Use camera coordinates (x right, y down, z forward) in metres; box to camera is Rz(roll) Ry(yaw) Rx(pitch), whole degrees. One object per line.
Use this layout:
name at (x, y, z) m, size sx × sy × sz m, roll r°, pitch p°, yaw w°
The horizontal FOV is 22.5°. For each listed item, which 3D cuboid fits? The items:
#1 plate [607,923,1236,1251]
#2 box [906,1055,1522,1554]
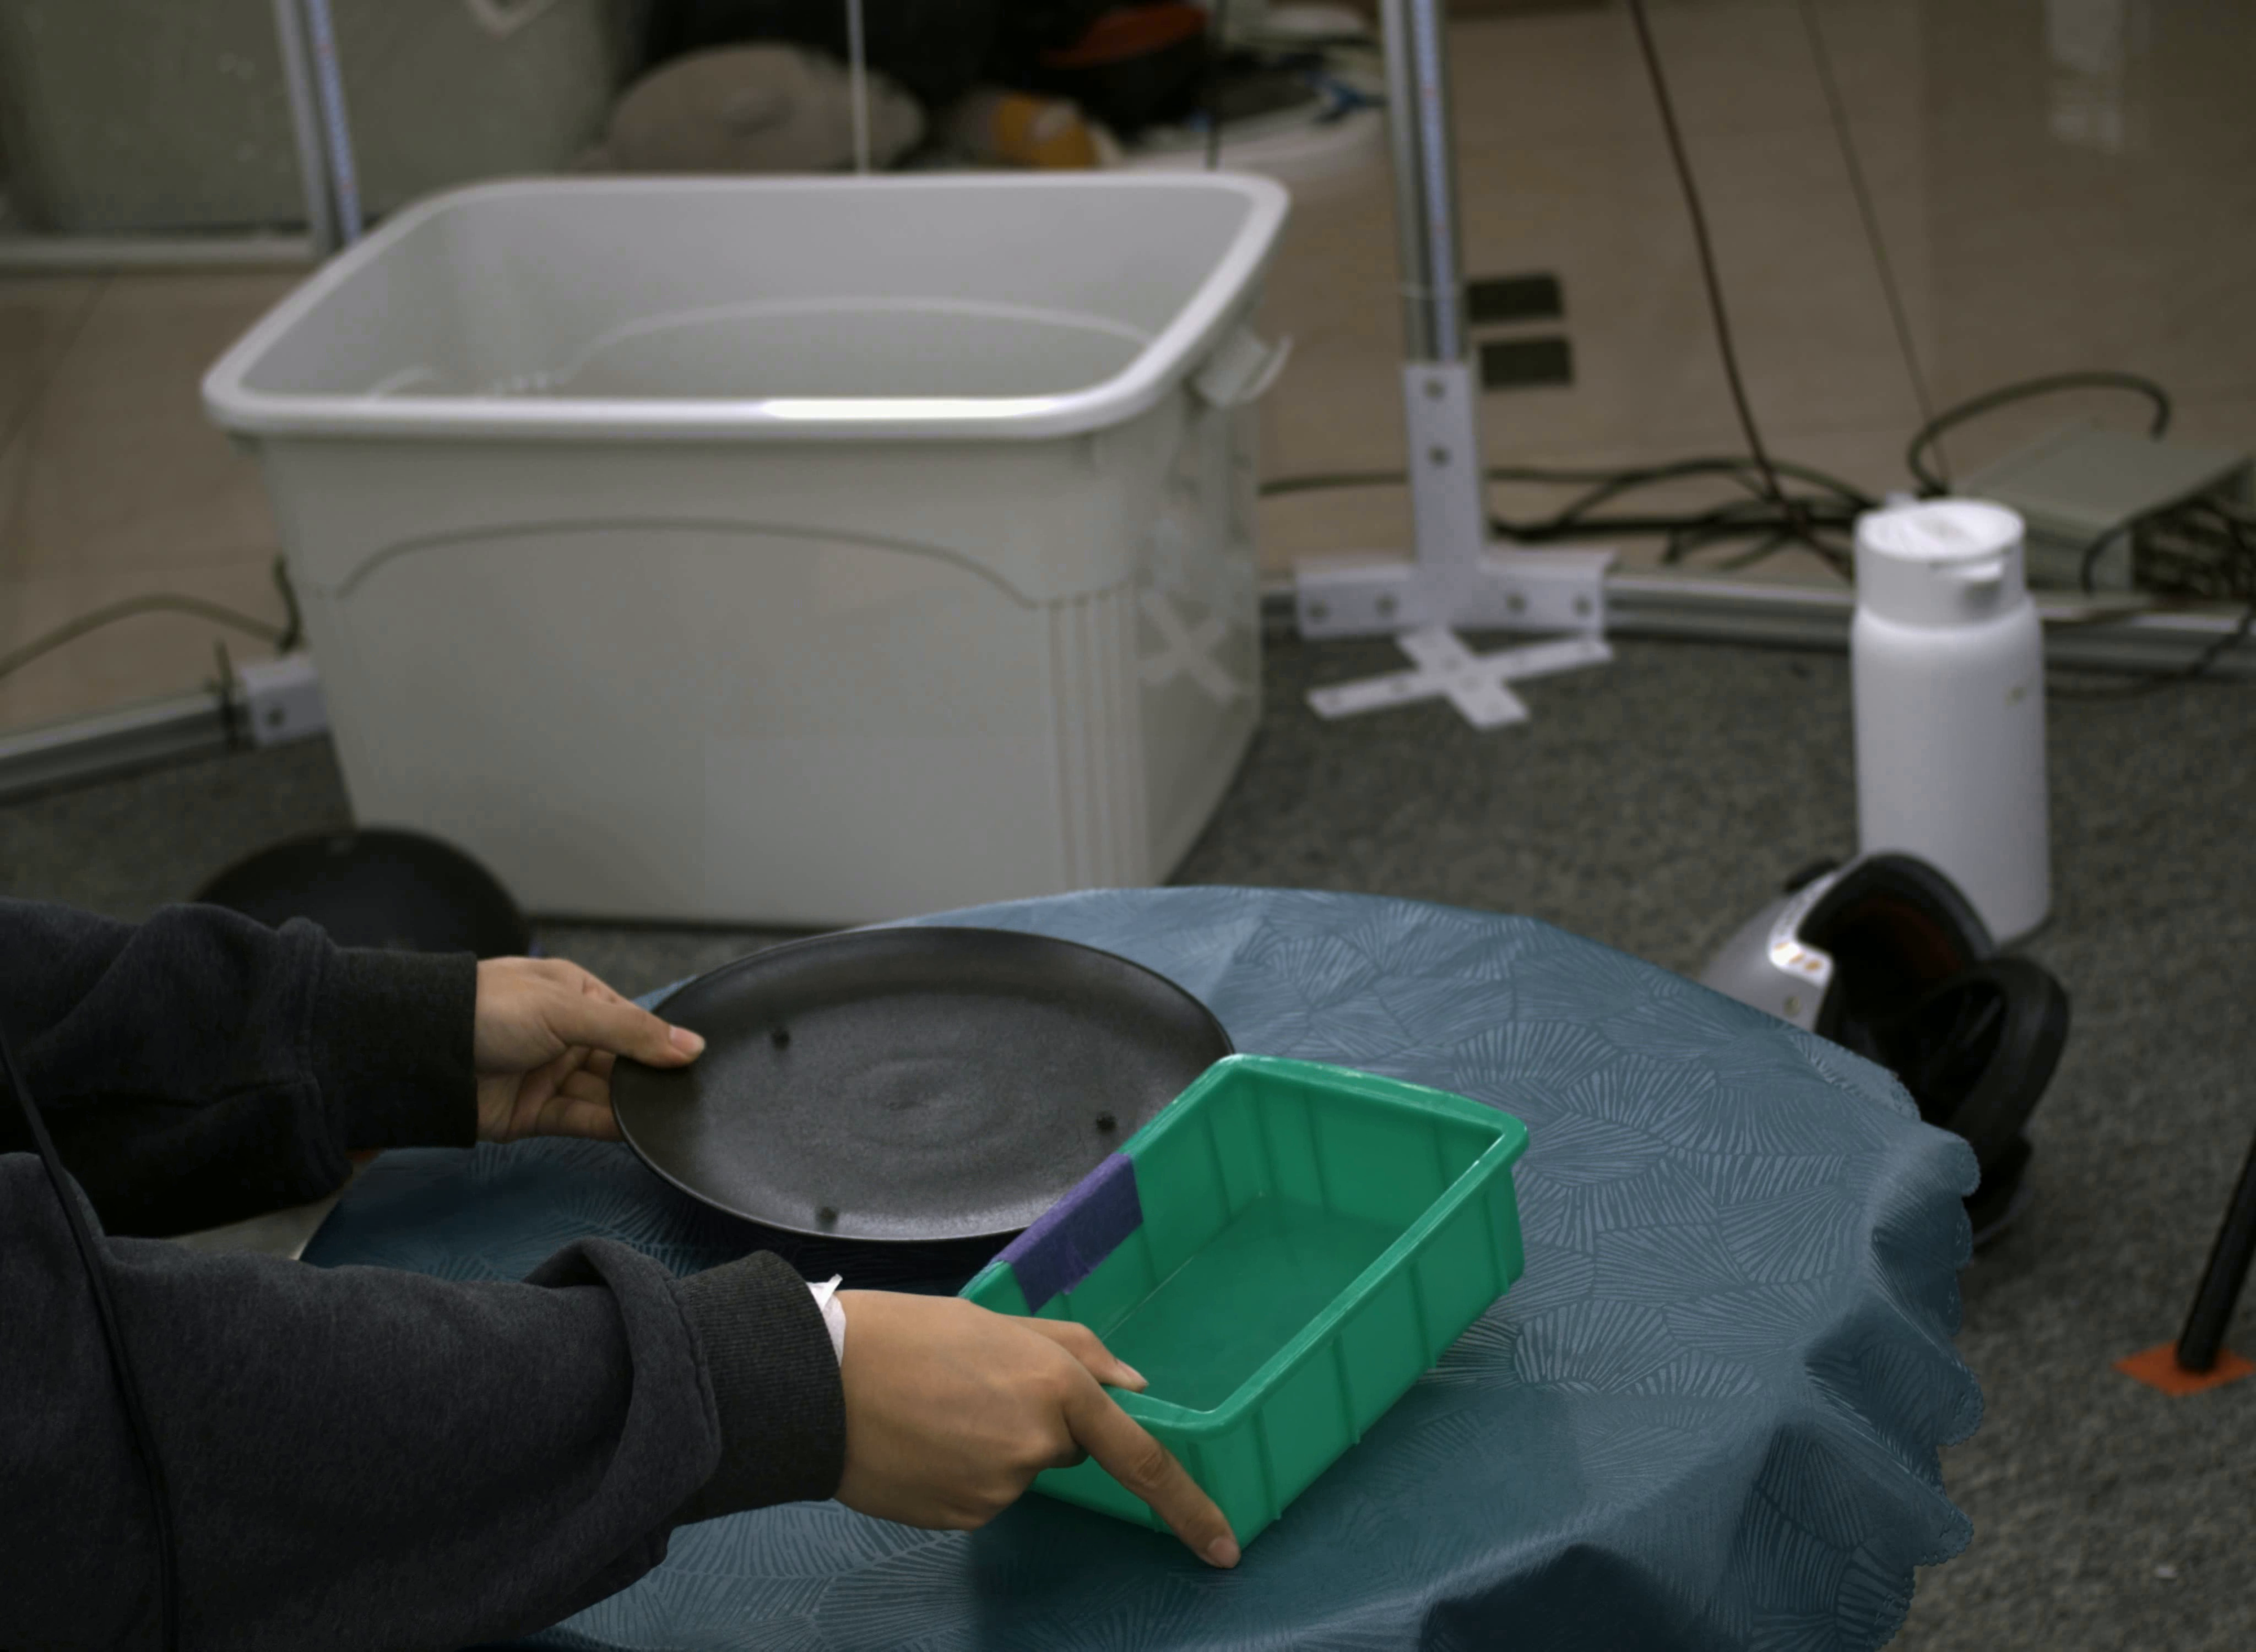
plate at (-0.080, 0.105, 2.189) m, size 0.244 × 0.024 × 0.240 m, roll 0°, pitch 29°, yaw 0°
box at (0.037, 0.167, 1.981) m, size 0.138 × 0.066 × 0.208 m, roll 10°, pitch 37°, yaw 37°
